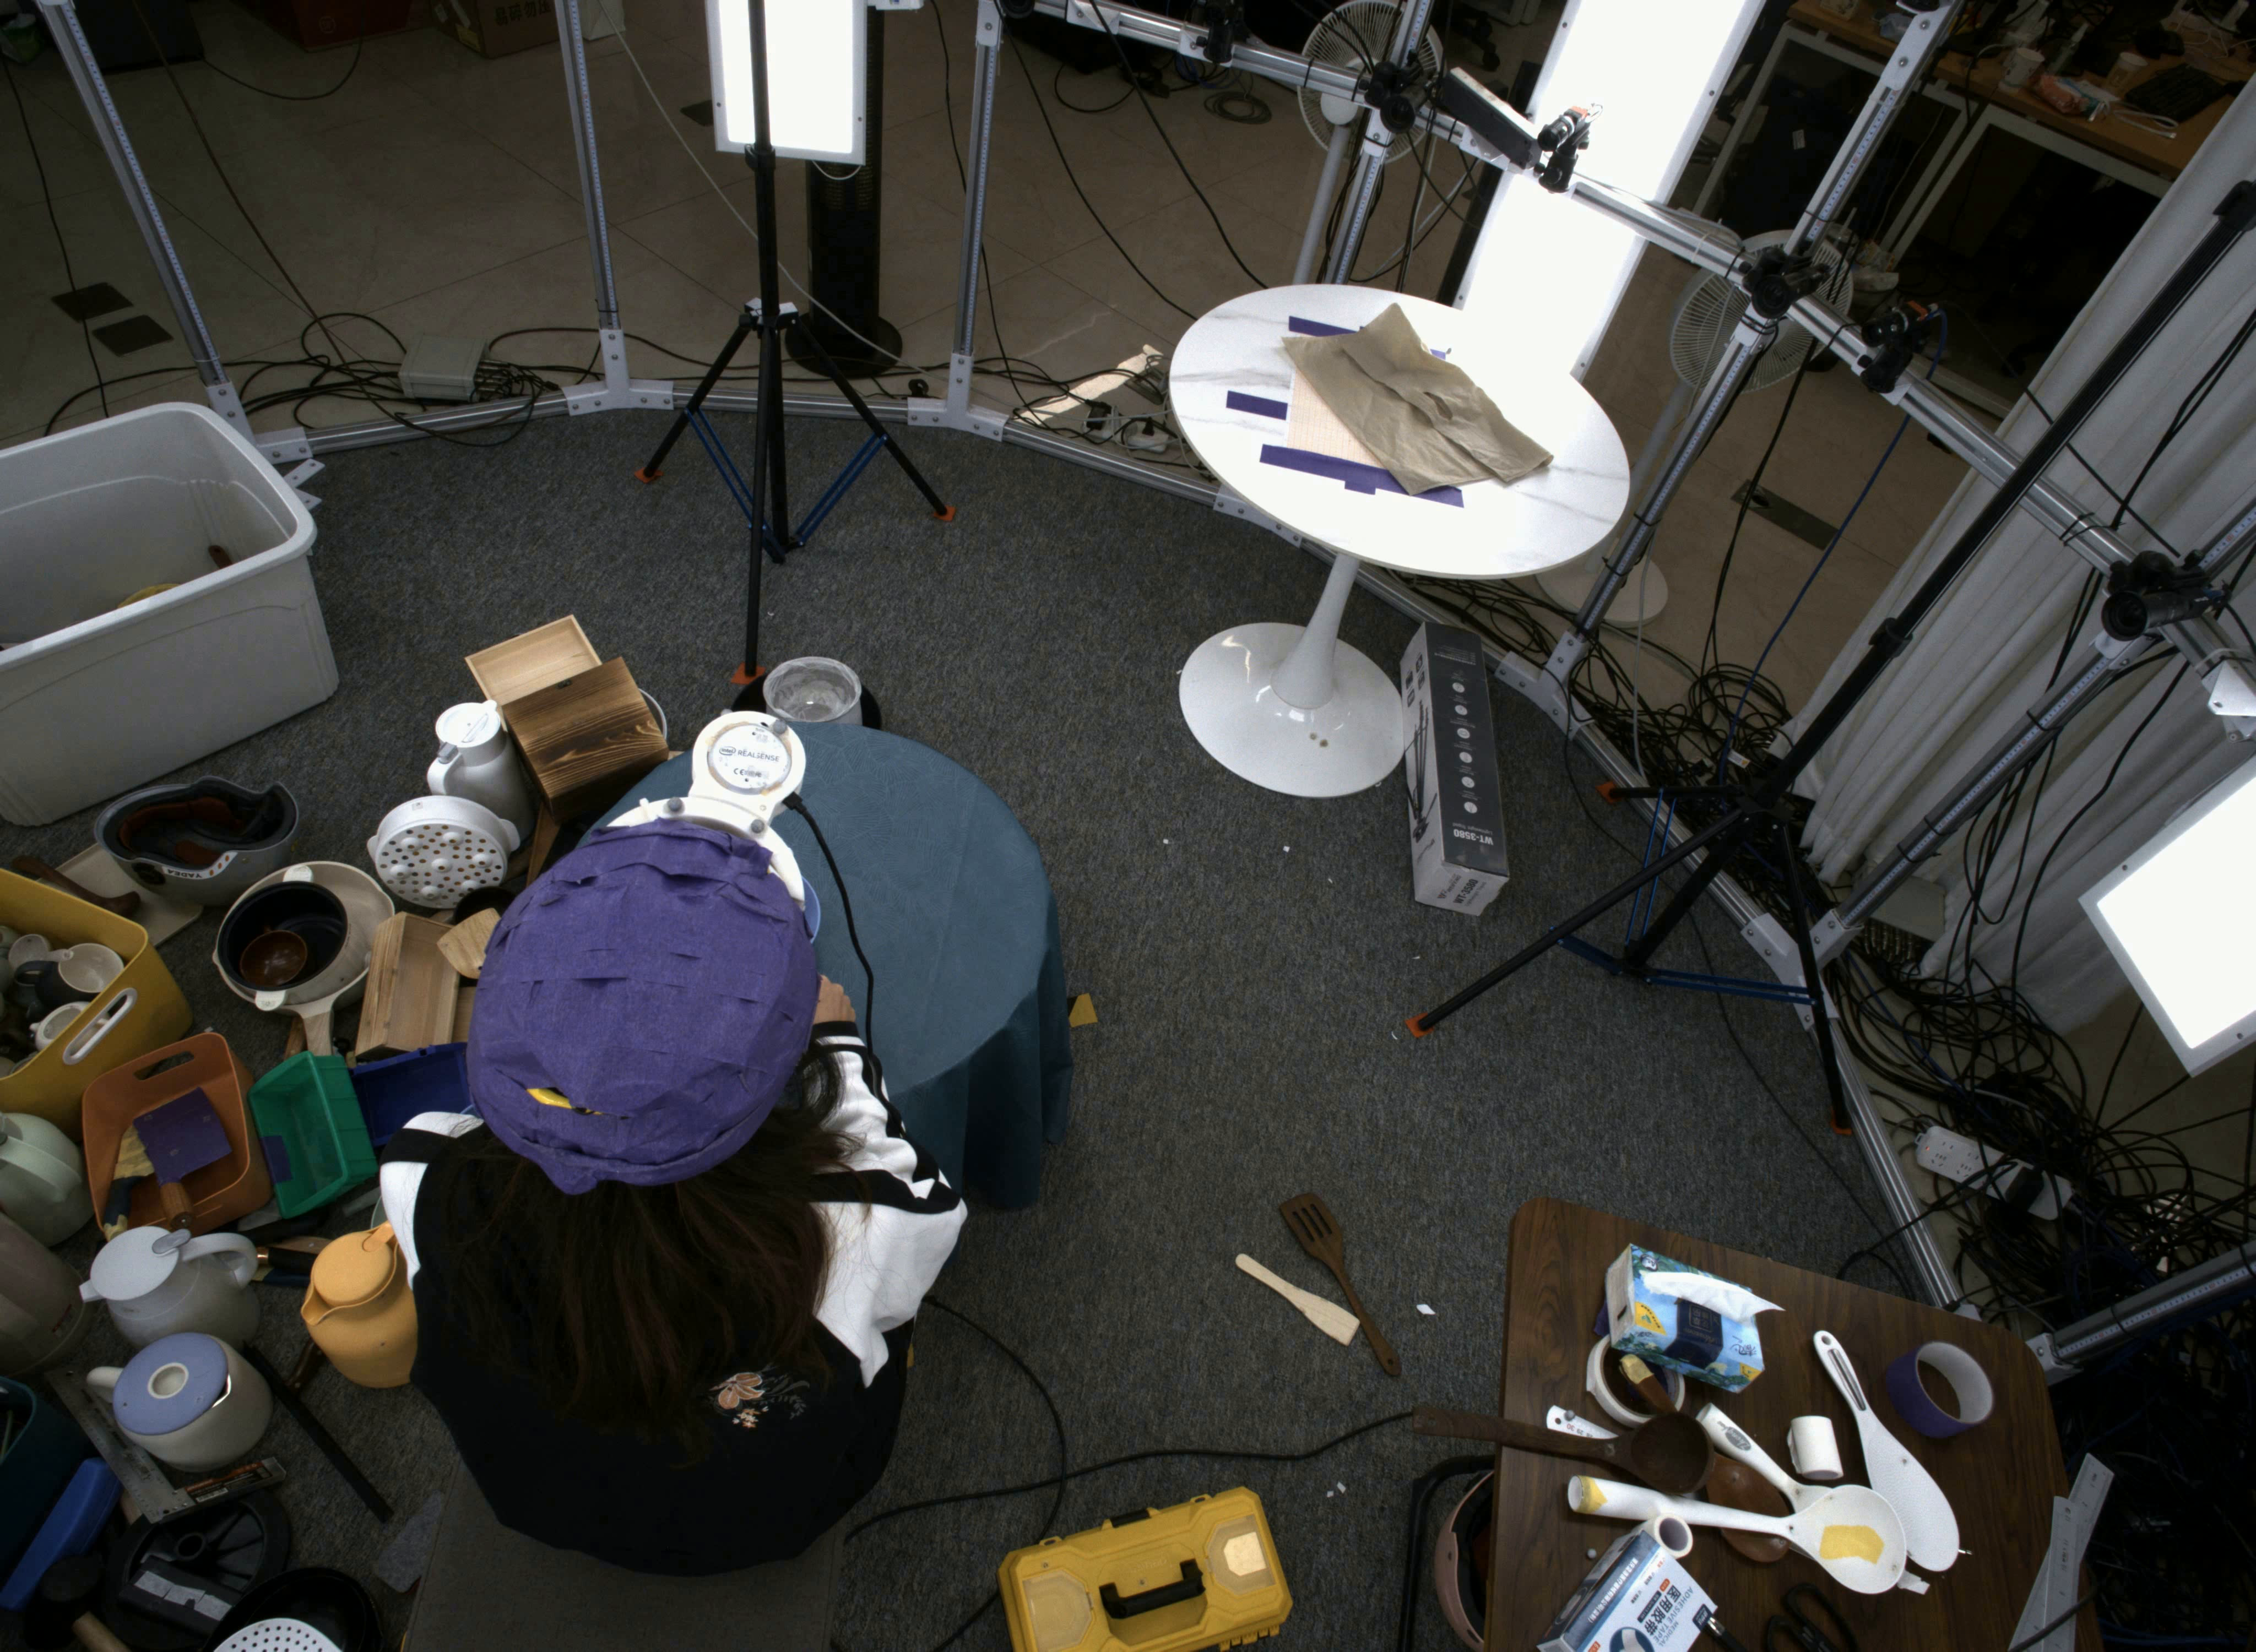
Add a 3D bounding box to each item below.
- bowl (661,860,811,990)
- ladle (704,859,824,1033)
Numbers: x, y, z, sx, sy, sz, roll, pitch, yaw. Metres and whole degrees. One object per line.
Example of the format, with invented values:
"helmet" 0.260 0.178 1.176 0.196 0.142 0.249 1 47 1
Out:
"bowl" -0.471 0.129 1.565 0.175 0.072 0.173 7 52 -8
"ladle" -0.415 0.130 1.471 0.072 0.075 0.245 -38 52 -5
